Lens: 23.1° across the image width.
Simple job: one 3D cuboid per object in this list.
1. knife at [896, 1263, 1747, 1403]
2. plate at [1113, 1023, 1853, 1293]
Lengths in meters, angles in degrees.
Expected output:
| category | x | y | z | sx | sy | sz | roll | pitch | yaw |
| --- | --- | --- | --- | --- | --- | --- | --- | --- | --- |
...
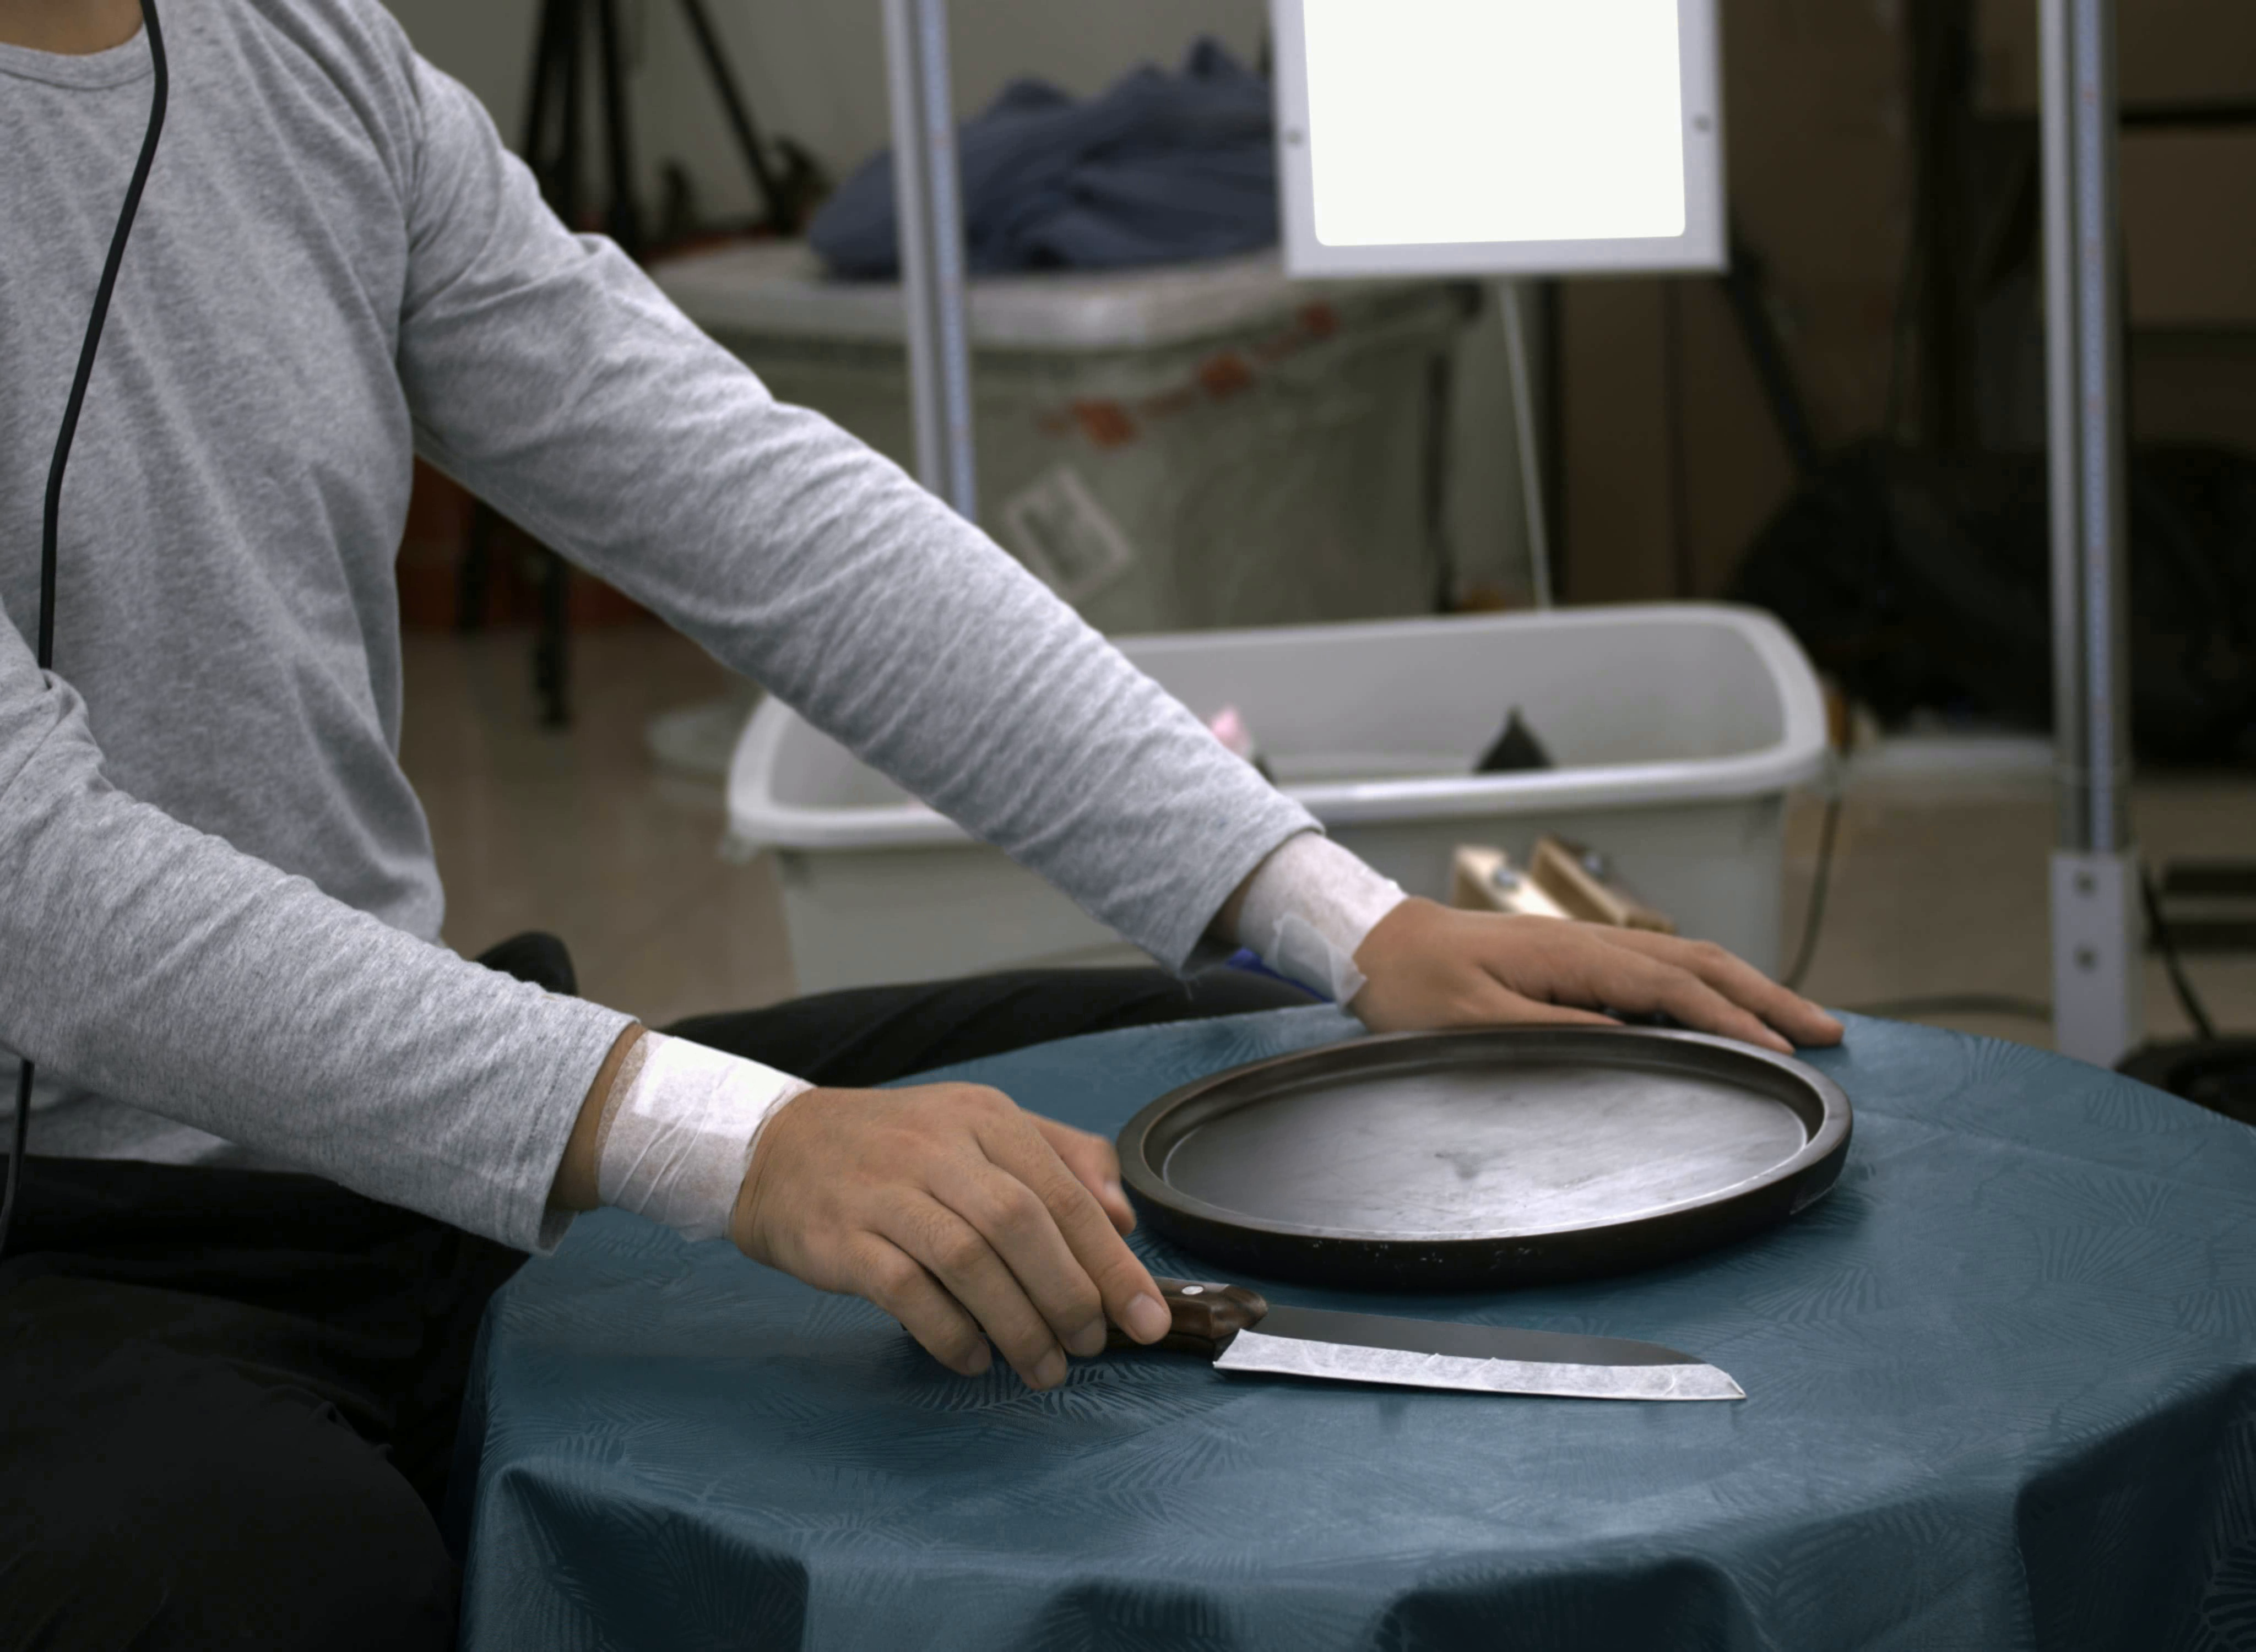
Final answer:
| category | x | y | z | sx | sy | sz | roll | pitch | yaw |
| --- | --- | --- | --- | --- | --- | --- | --- | --- | --- |
| knife | 0.056 | 0.160 | 1.714 | 0.294 | 0.020 | 0.049 | 4 | 24 | 25 |
| plate | 0.121 | 0.111 | 1.873 | 0.254 | 0.029 | 0.254 | -7 | 14 | 0 |
